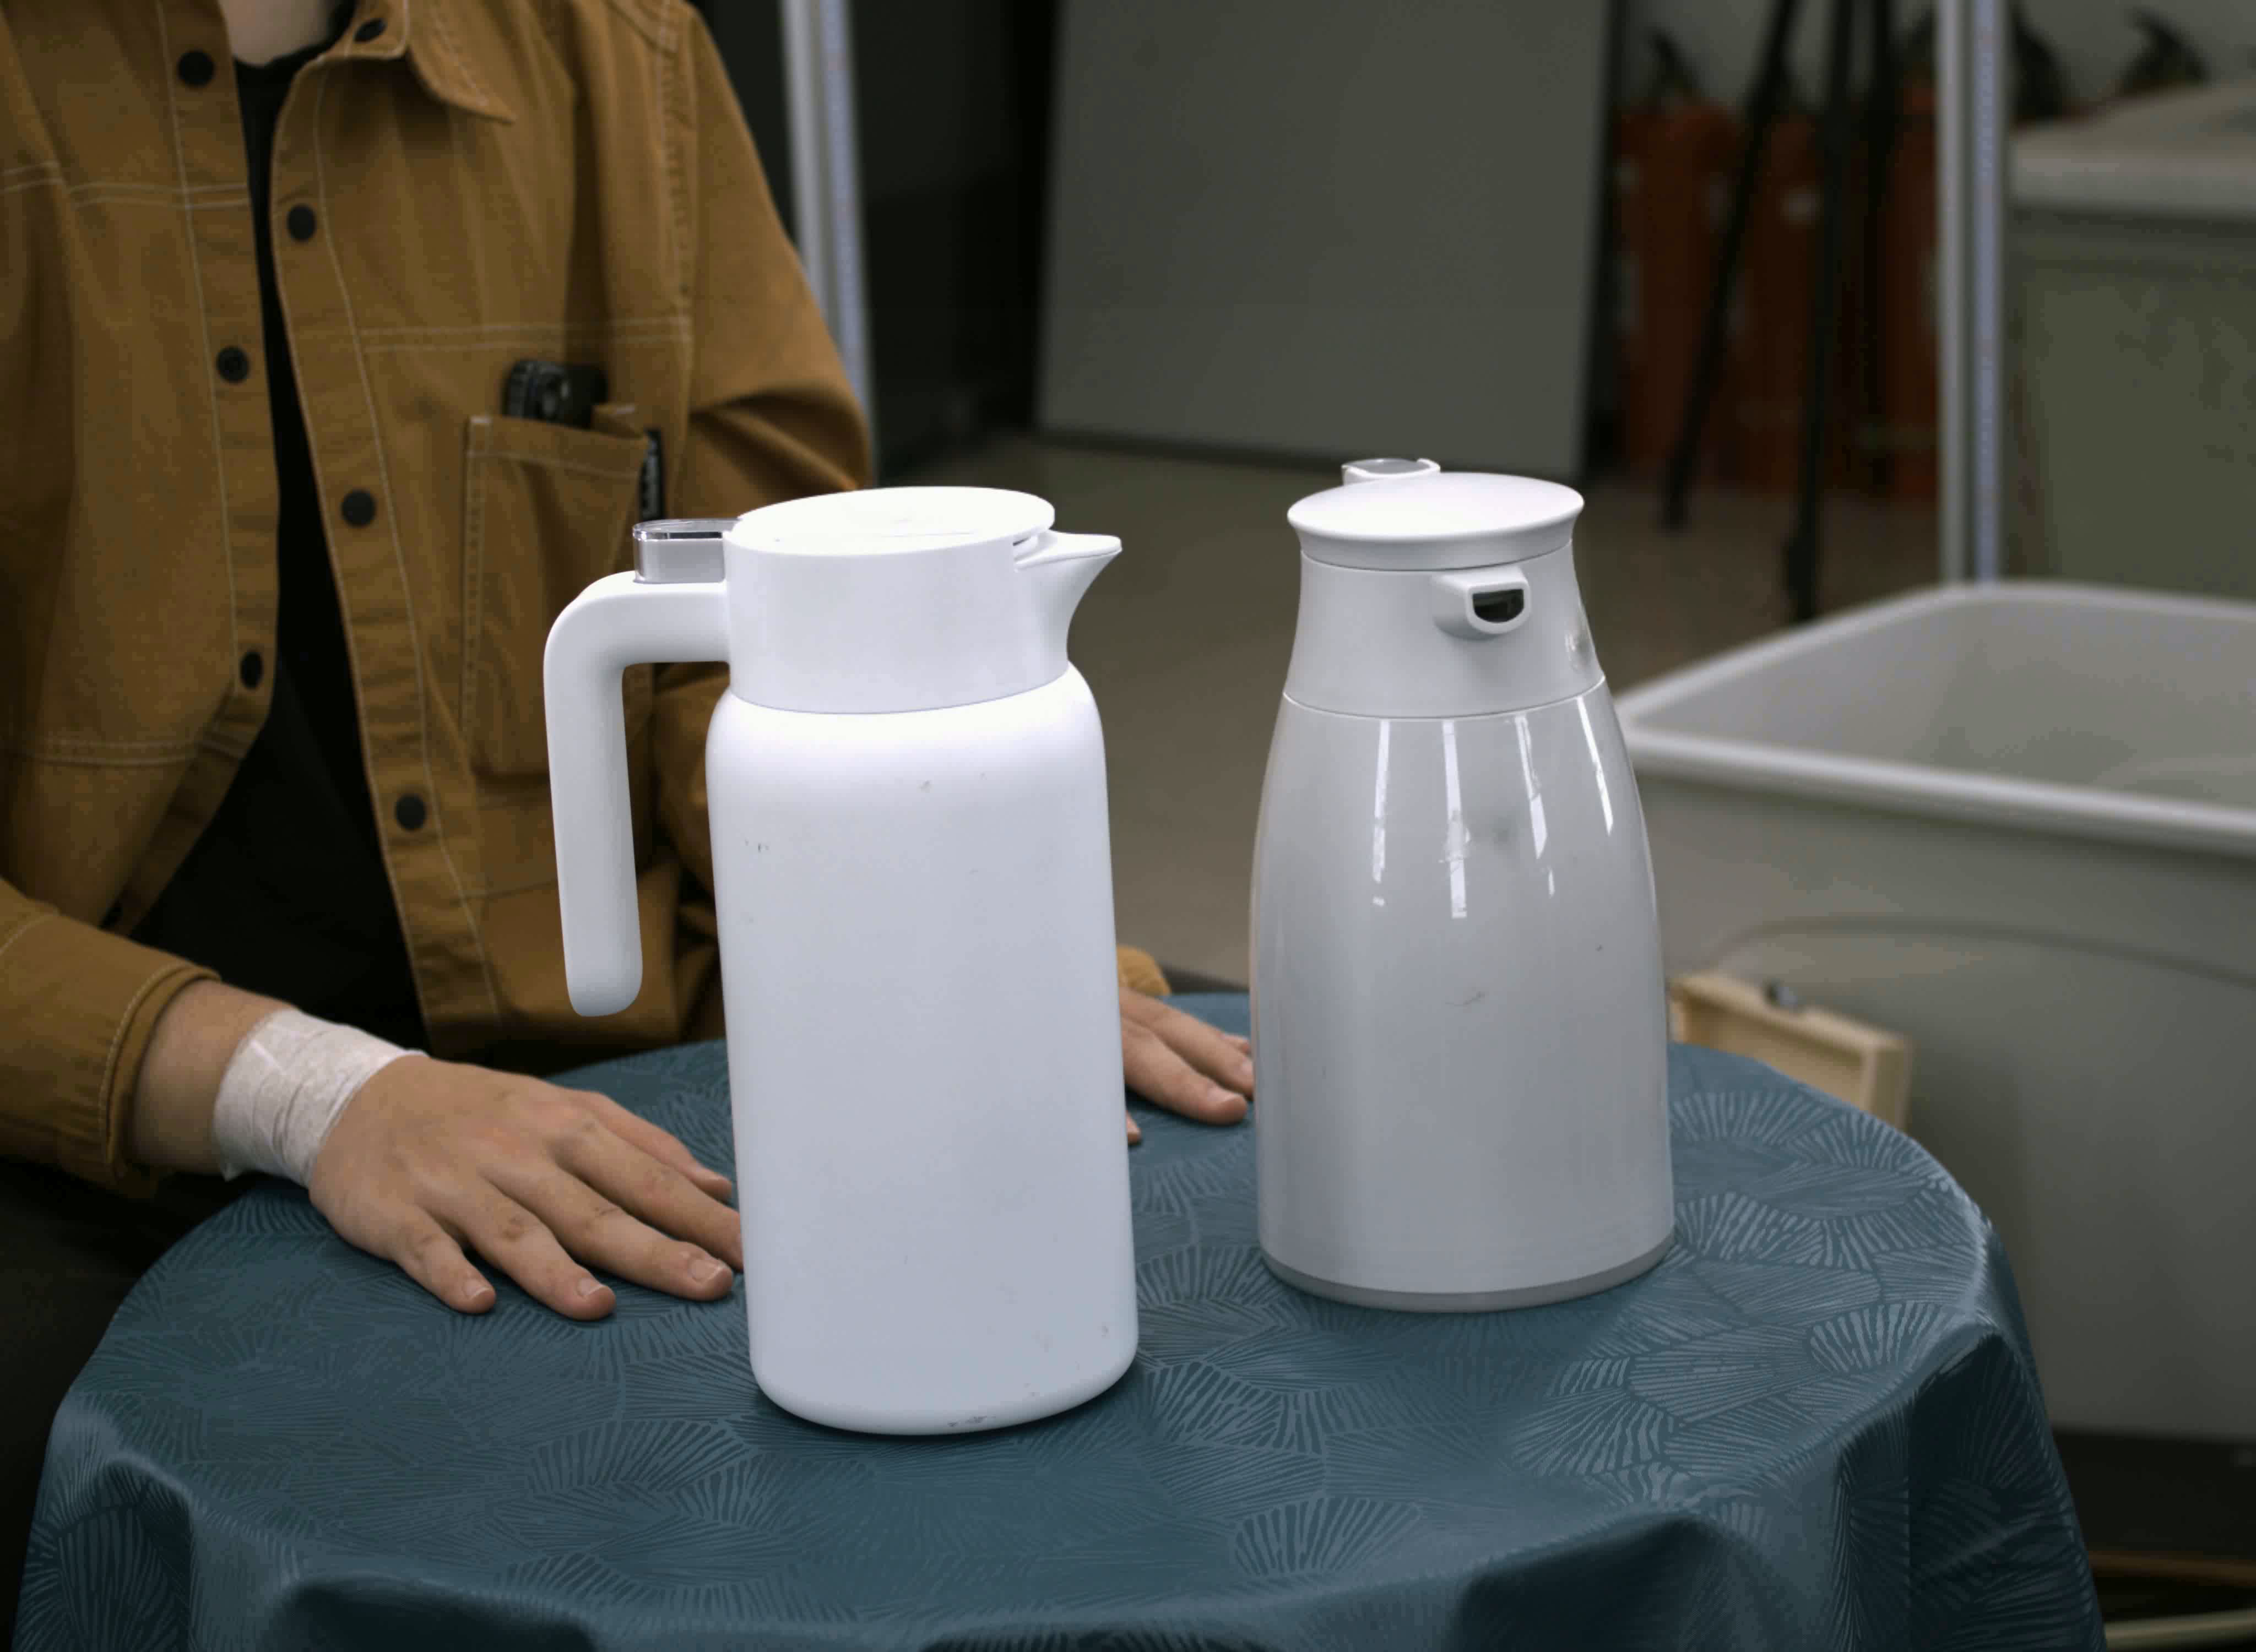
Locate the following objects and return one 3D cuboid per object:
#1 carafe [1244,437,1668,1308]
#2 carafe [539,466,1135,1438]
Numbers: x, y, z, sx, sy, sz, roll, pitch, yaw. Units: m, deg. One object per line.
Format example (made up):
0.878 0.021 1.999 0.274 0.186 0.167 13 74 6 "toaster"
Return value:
0.092 0.007 1.687 0.130 0.251 0.169 -7 13 -13 "carafe"
-0.080 0.036 1.581 0.171 0.272 0.123 -2 15 8 "carafe"
